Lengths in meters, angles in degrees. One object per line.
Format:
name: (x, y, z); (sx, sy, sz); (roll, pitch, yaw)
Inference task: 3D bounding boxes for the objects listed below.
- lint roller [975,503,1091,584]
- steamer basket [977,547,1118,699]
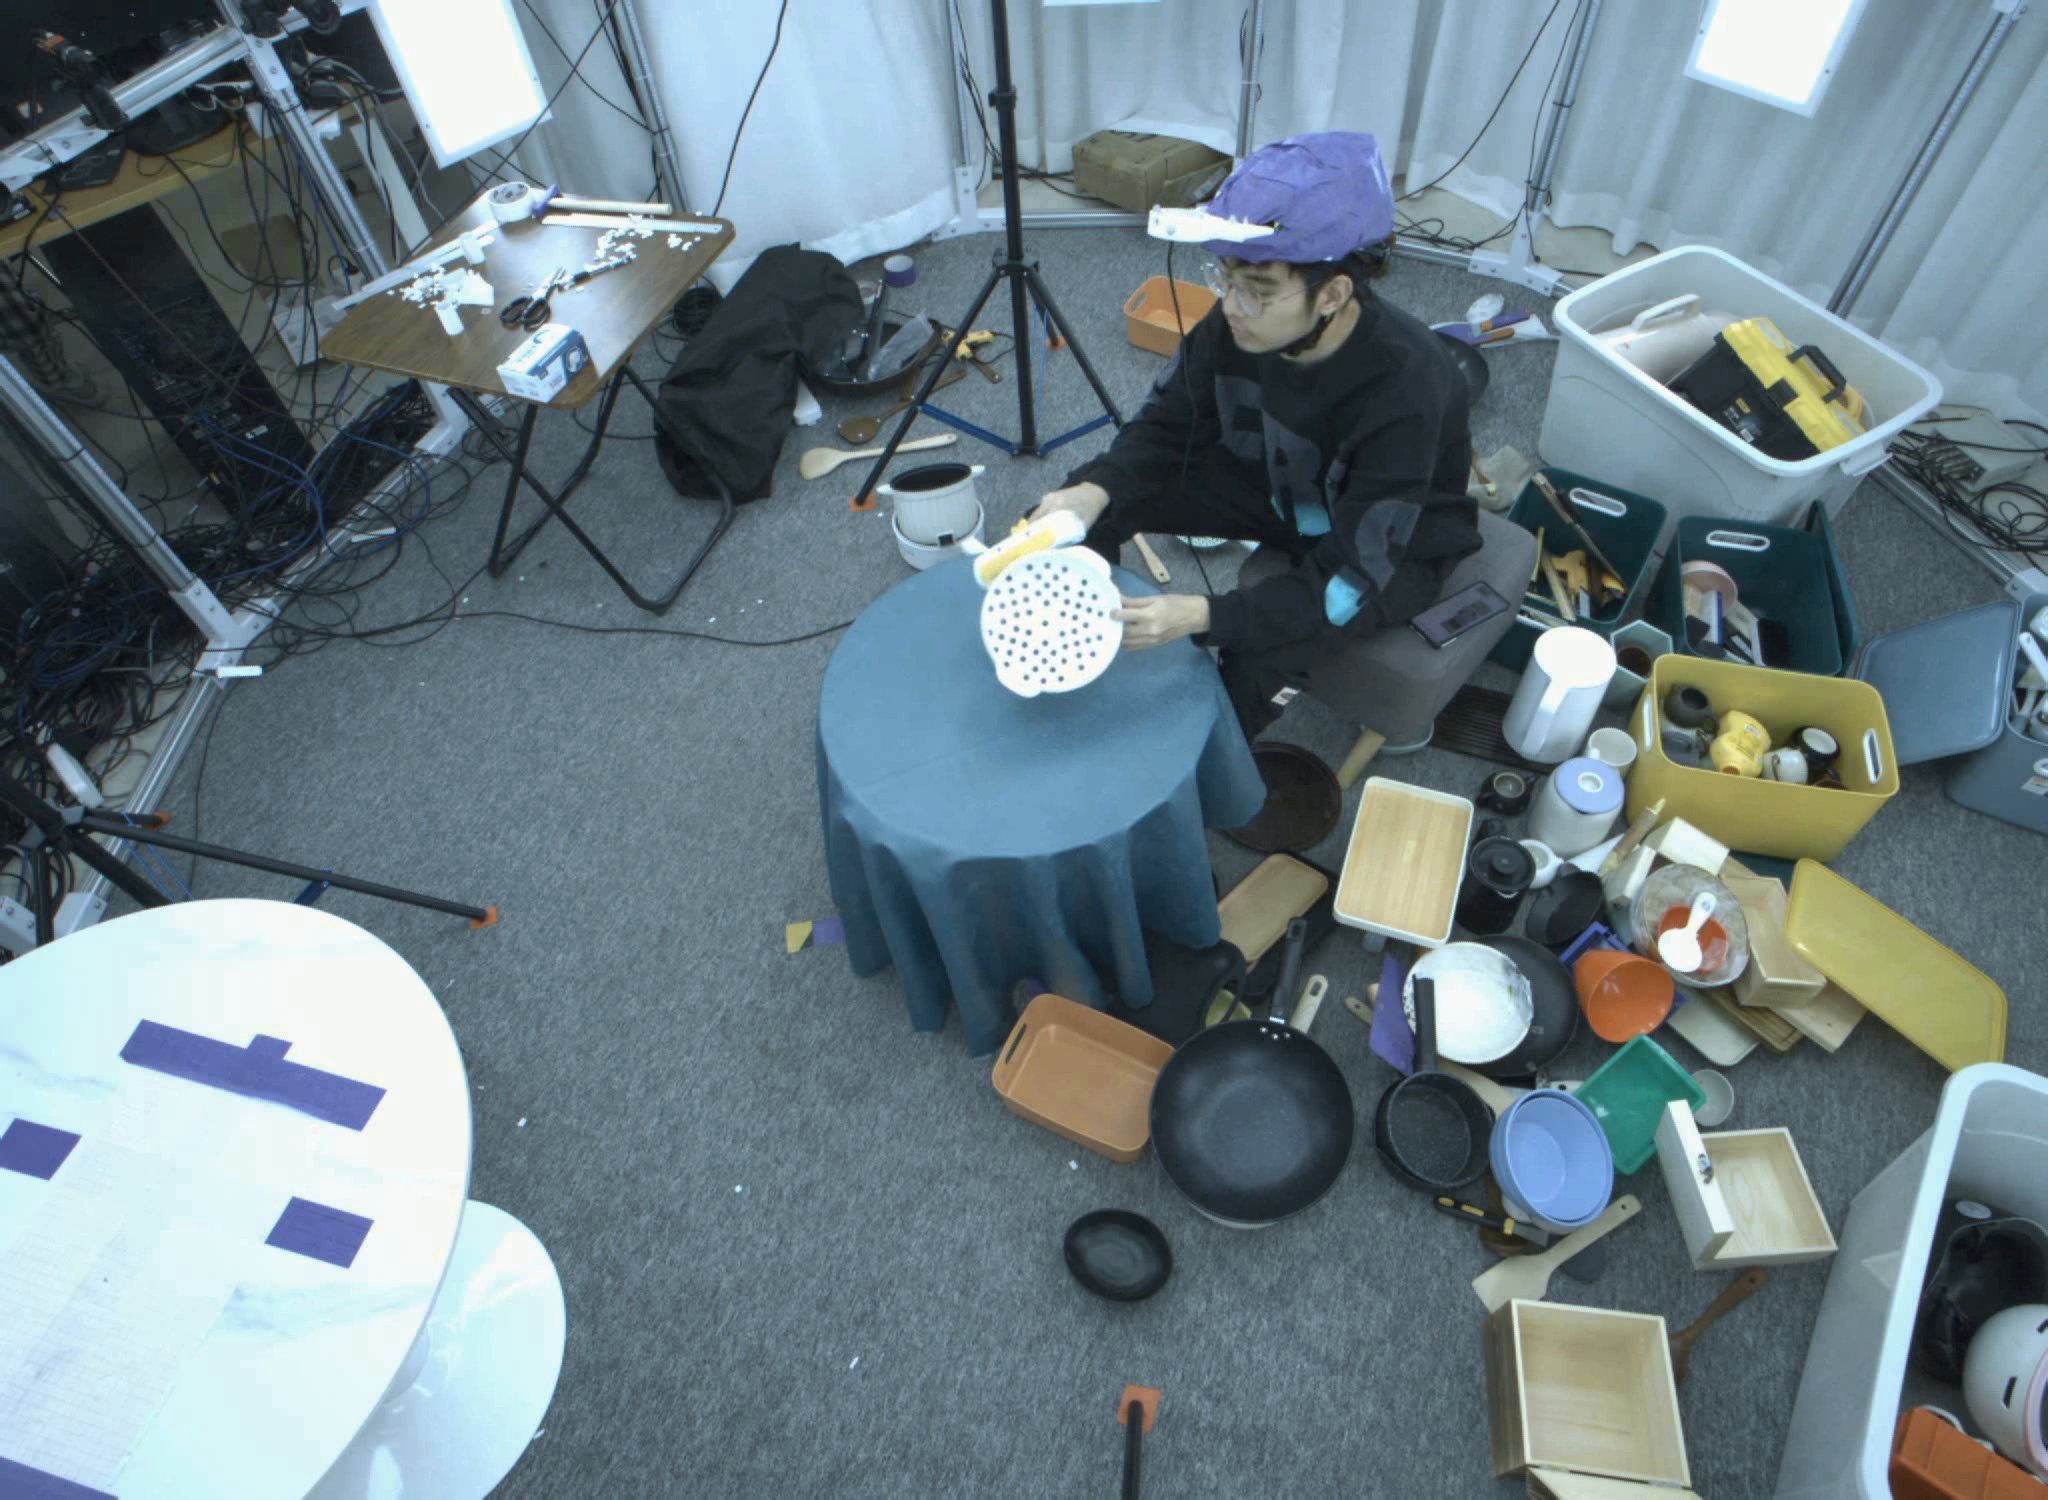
lint roller: (0.031, -0.324, 1.846); (0.074, 0.190, 0.194); (59, 32, -2)
steamer basket: (0.031, -0.180, 1.759); (0.204, 0.068, 0.230); (32, 84, -14)
